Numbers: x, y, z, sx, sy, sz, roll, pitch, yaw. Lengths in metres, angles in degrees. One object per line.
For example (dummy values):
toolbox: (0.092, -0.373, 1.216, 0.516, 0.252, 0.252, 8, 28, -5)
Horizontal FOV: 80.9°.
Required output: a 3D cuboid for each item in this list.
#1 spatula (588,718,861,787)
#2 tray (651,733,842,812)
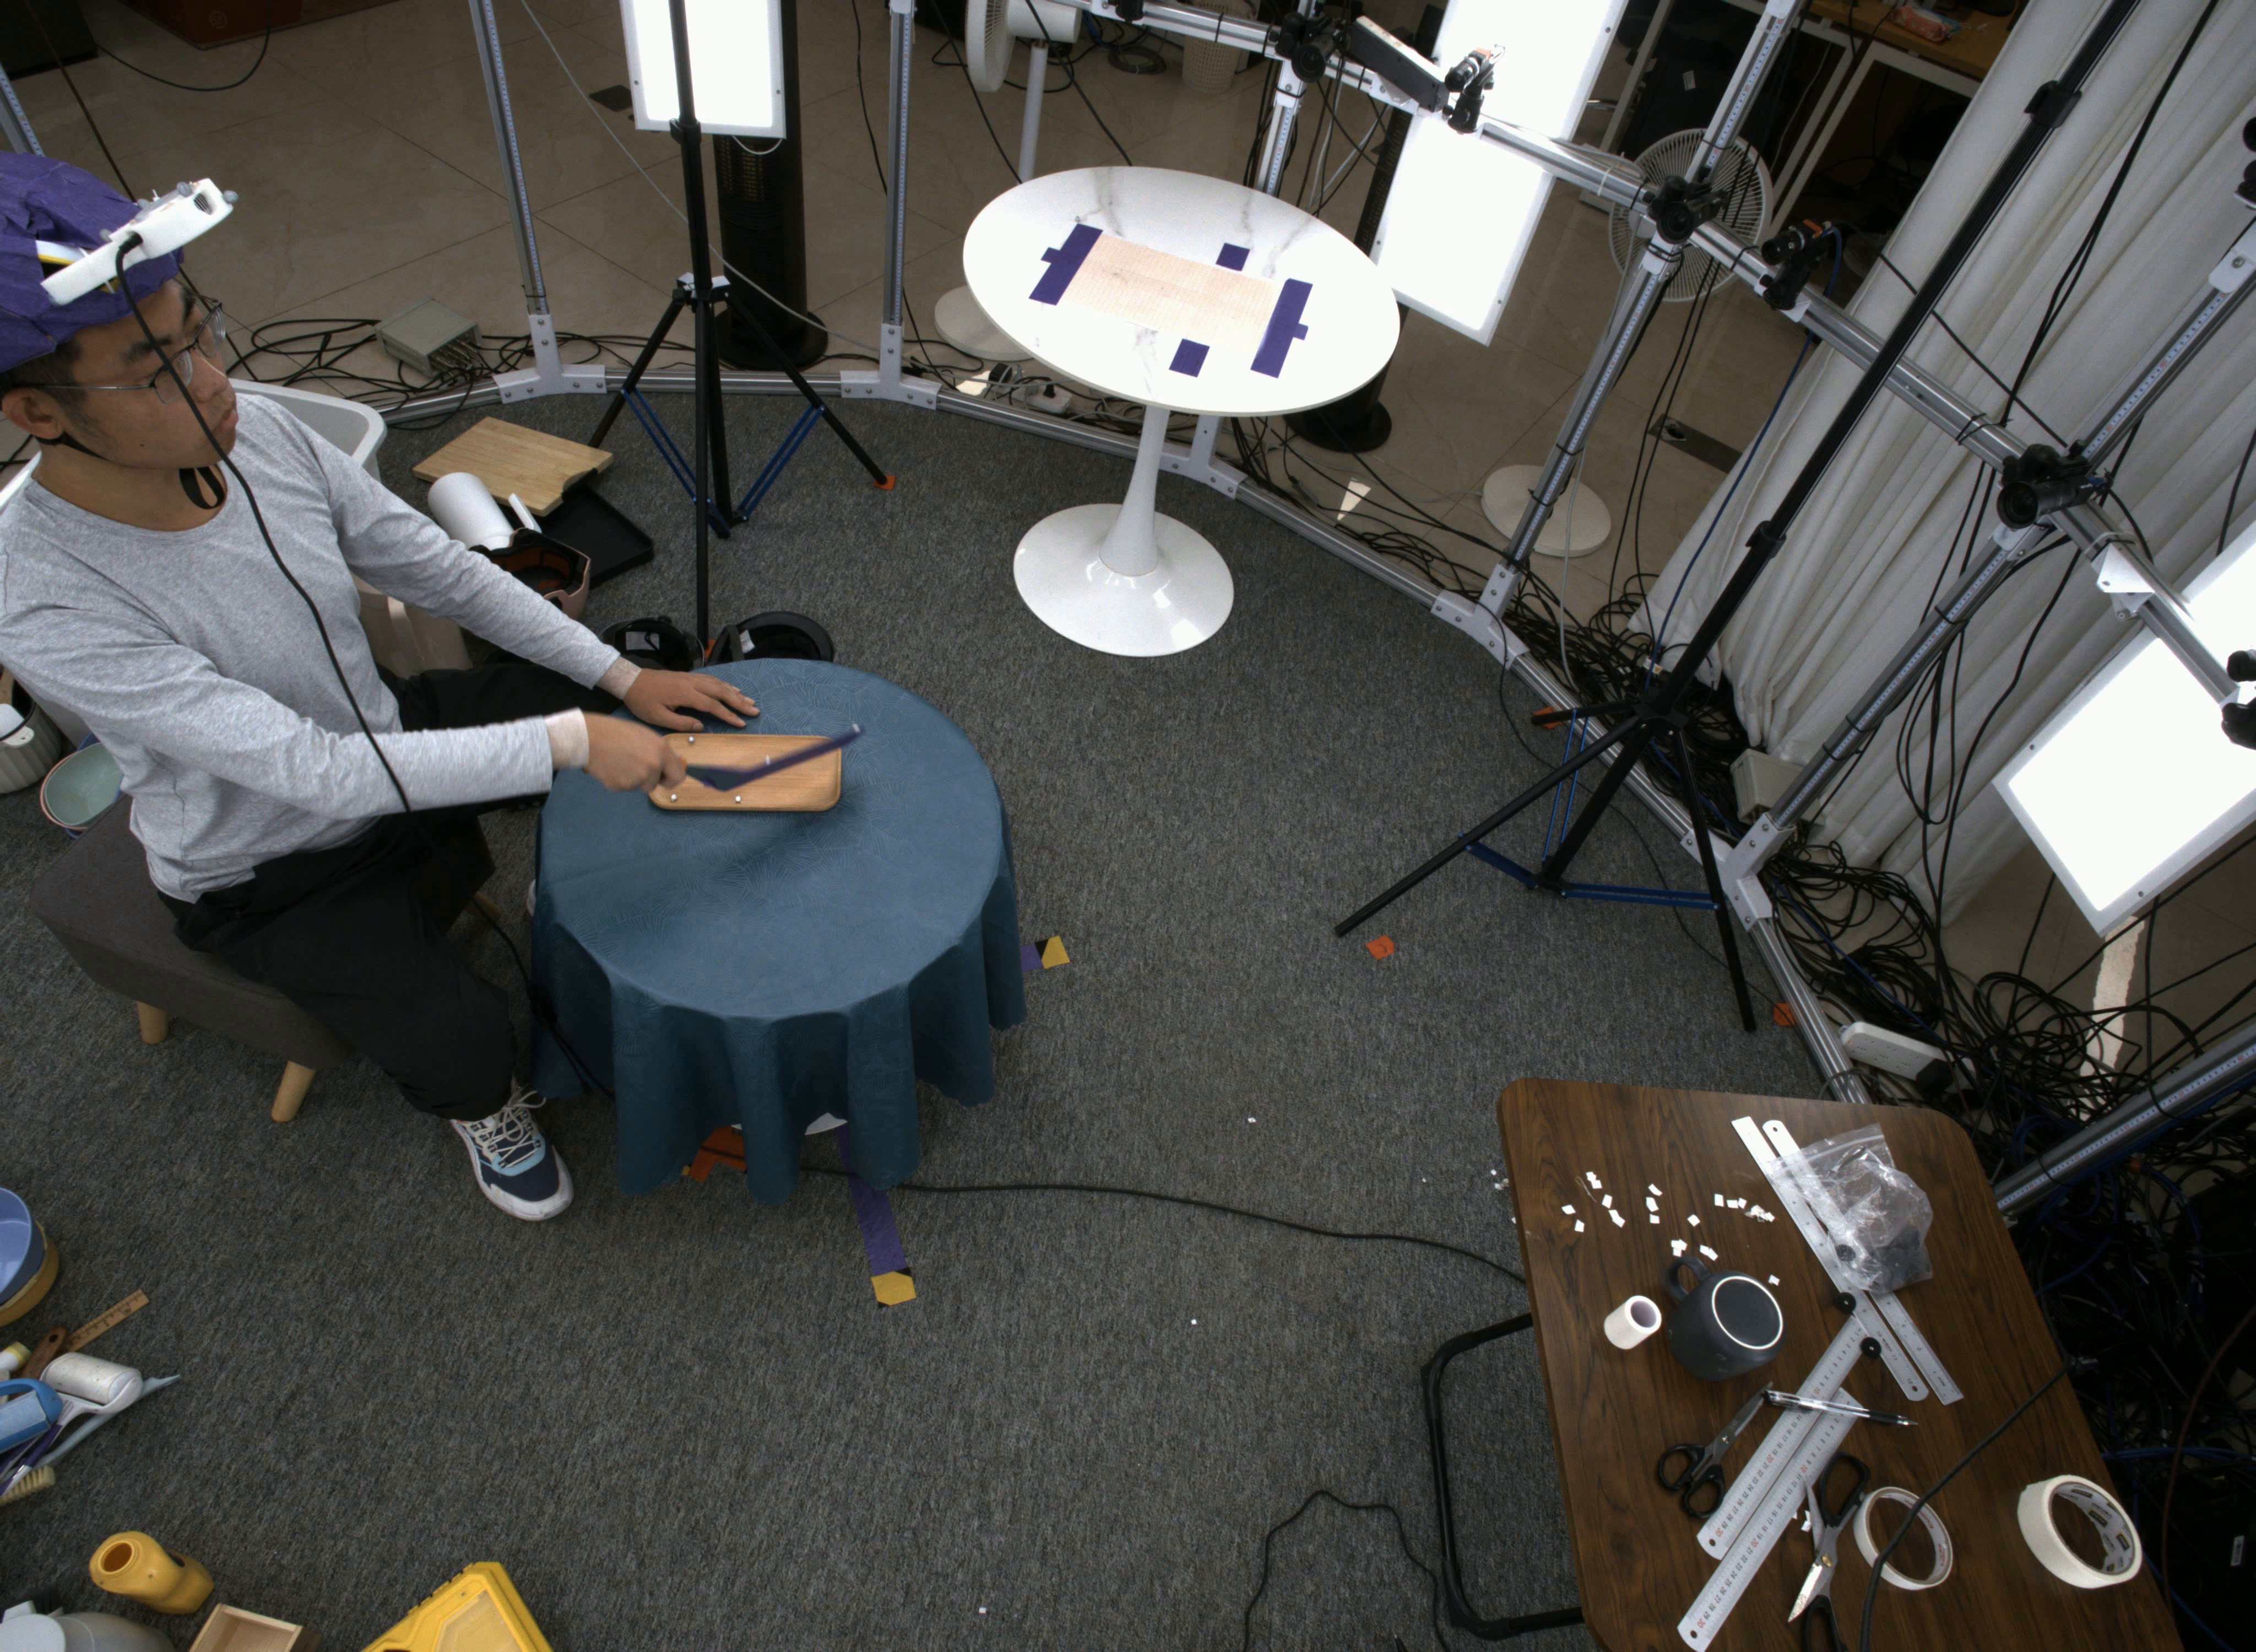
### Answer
spatula: (-0.501, -0.103, 1.615, 0.366, 0.075, 0.086, 4, 63, -37)
tray: (-0.513, -0.073, 1.746, 0.251, 0.023, 0.128, 1, 57, -14)
